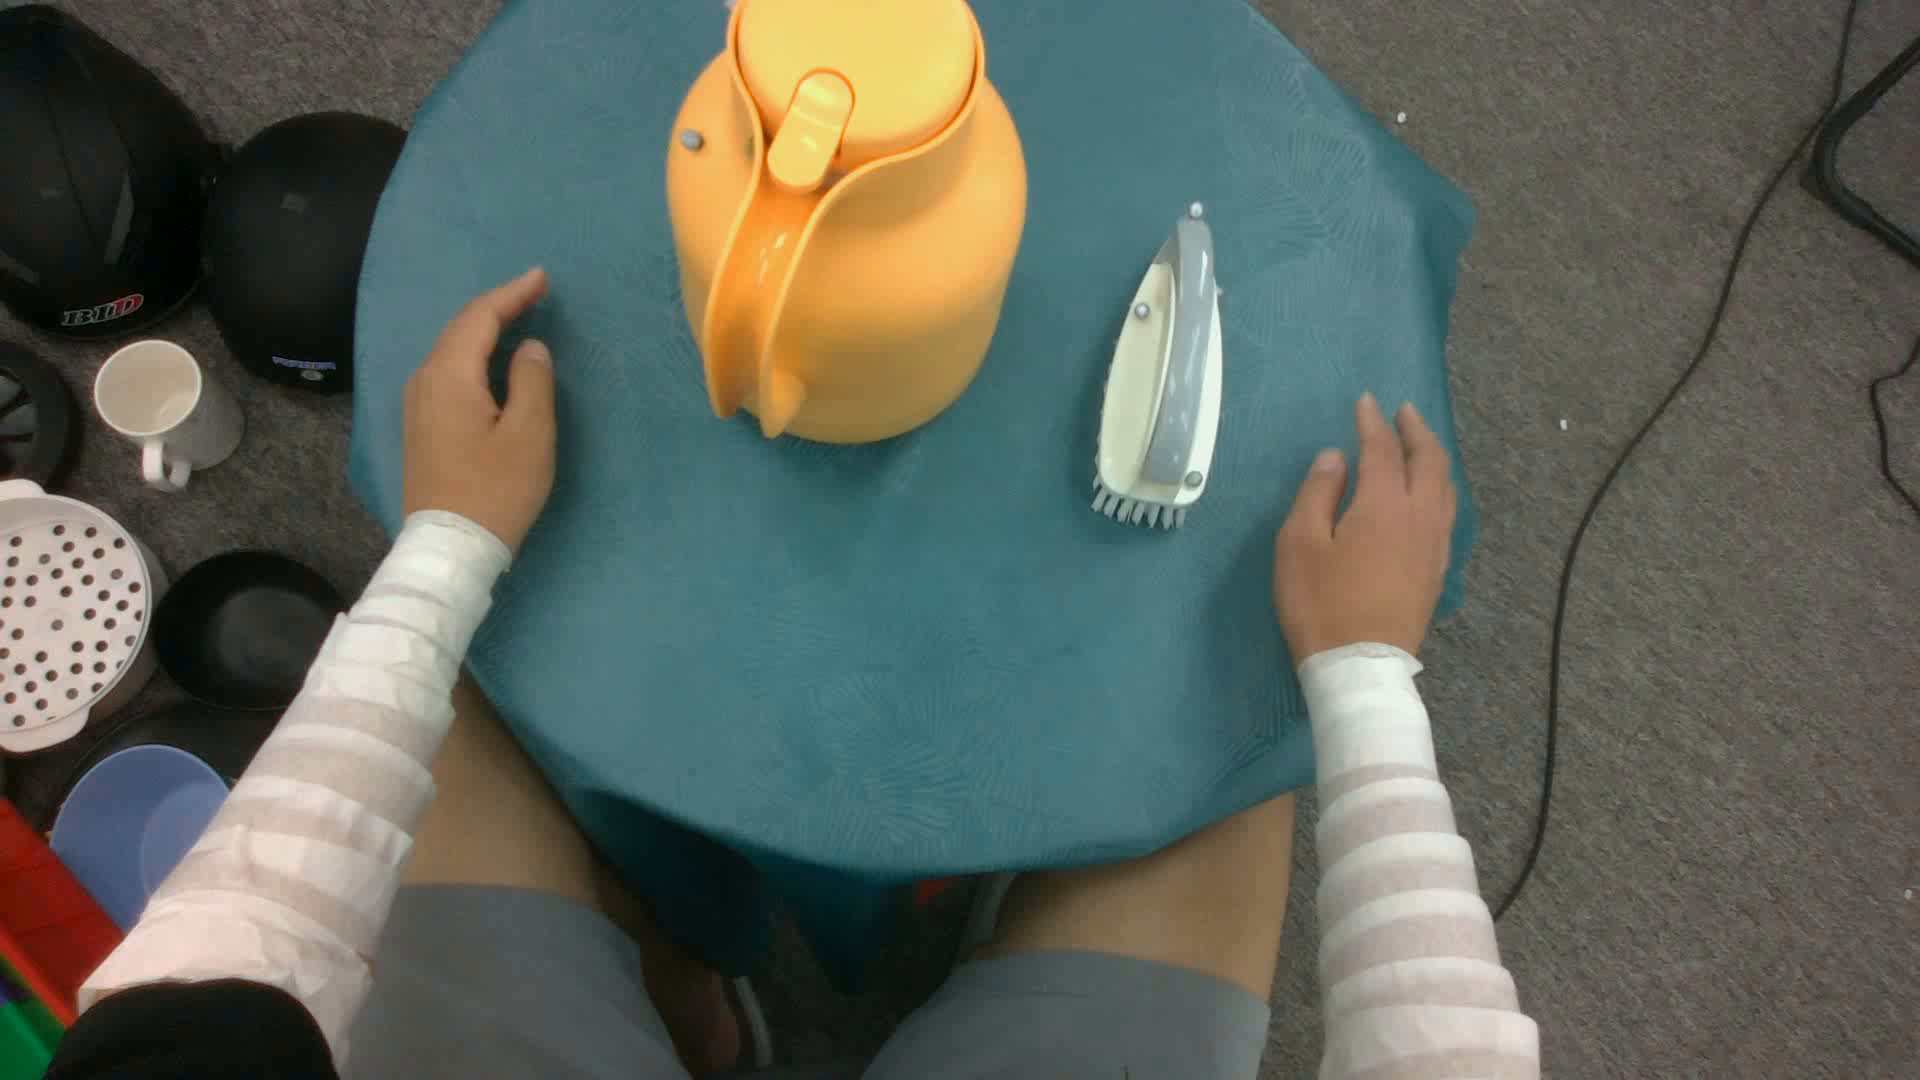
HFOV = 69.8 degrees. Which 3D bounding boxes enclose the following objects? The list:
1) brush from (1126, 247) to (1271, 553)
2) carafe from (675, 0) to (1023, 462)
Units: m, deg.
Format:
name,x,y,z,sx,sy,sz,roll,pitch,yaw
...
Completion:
name,x,y,z,sx,sy,sz,roll,pitch,yaw
brush,0.128,-0.089,0.736,0.061,0.094,0.176,-4,68,-12
carafe,-0.061,-0.132,0.644,0.163,0.259,0.203,23,71,3
